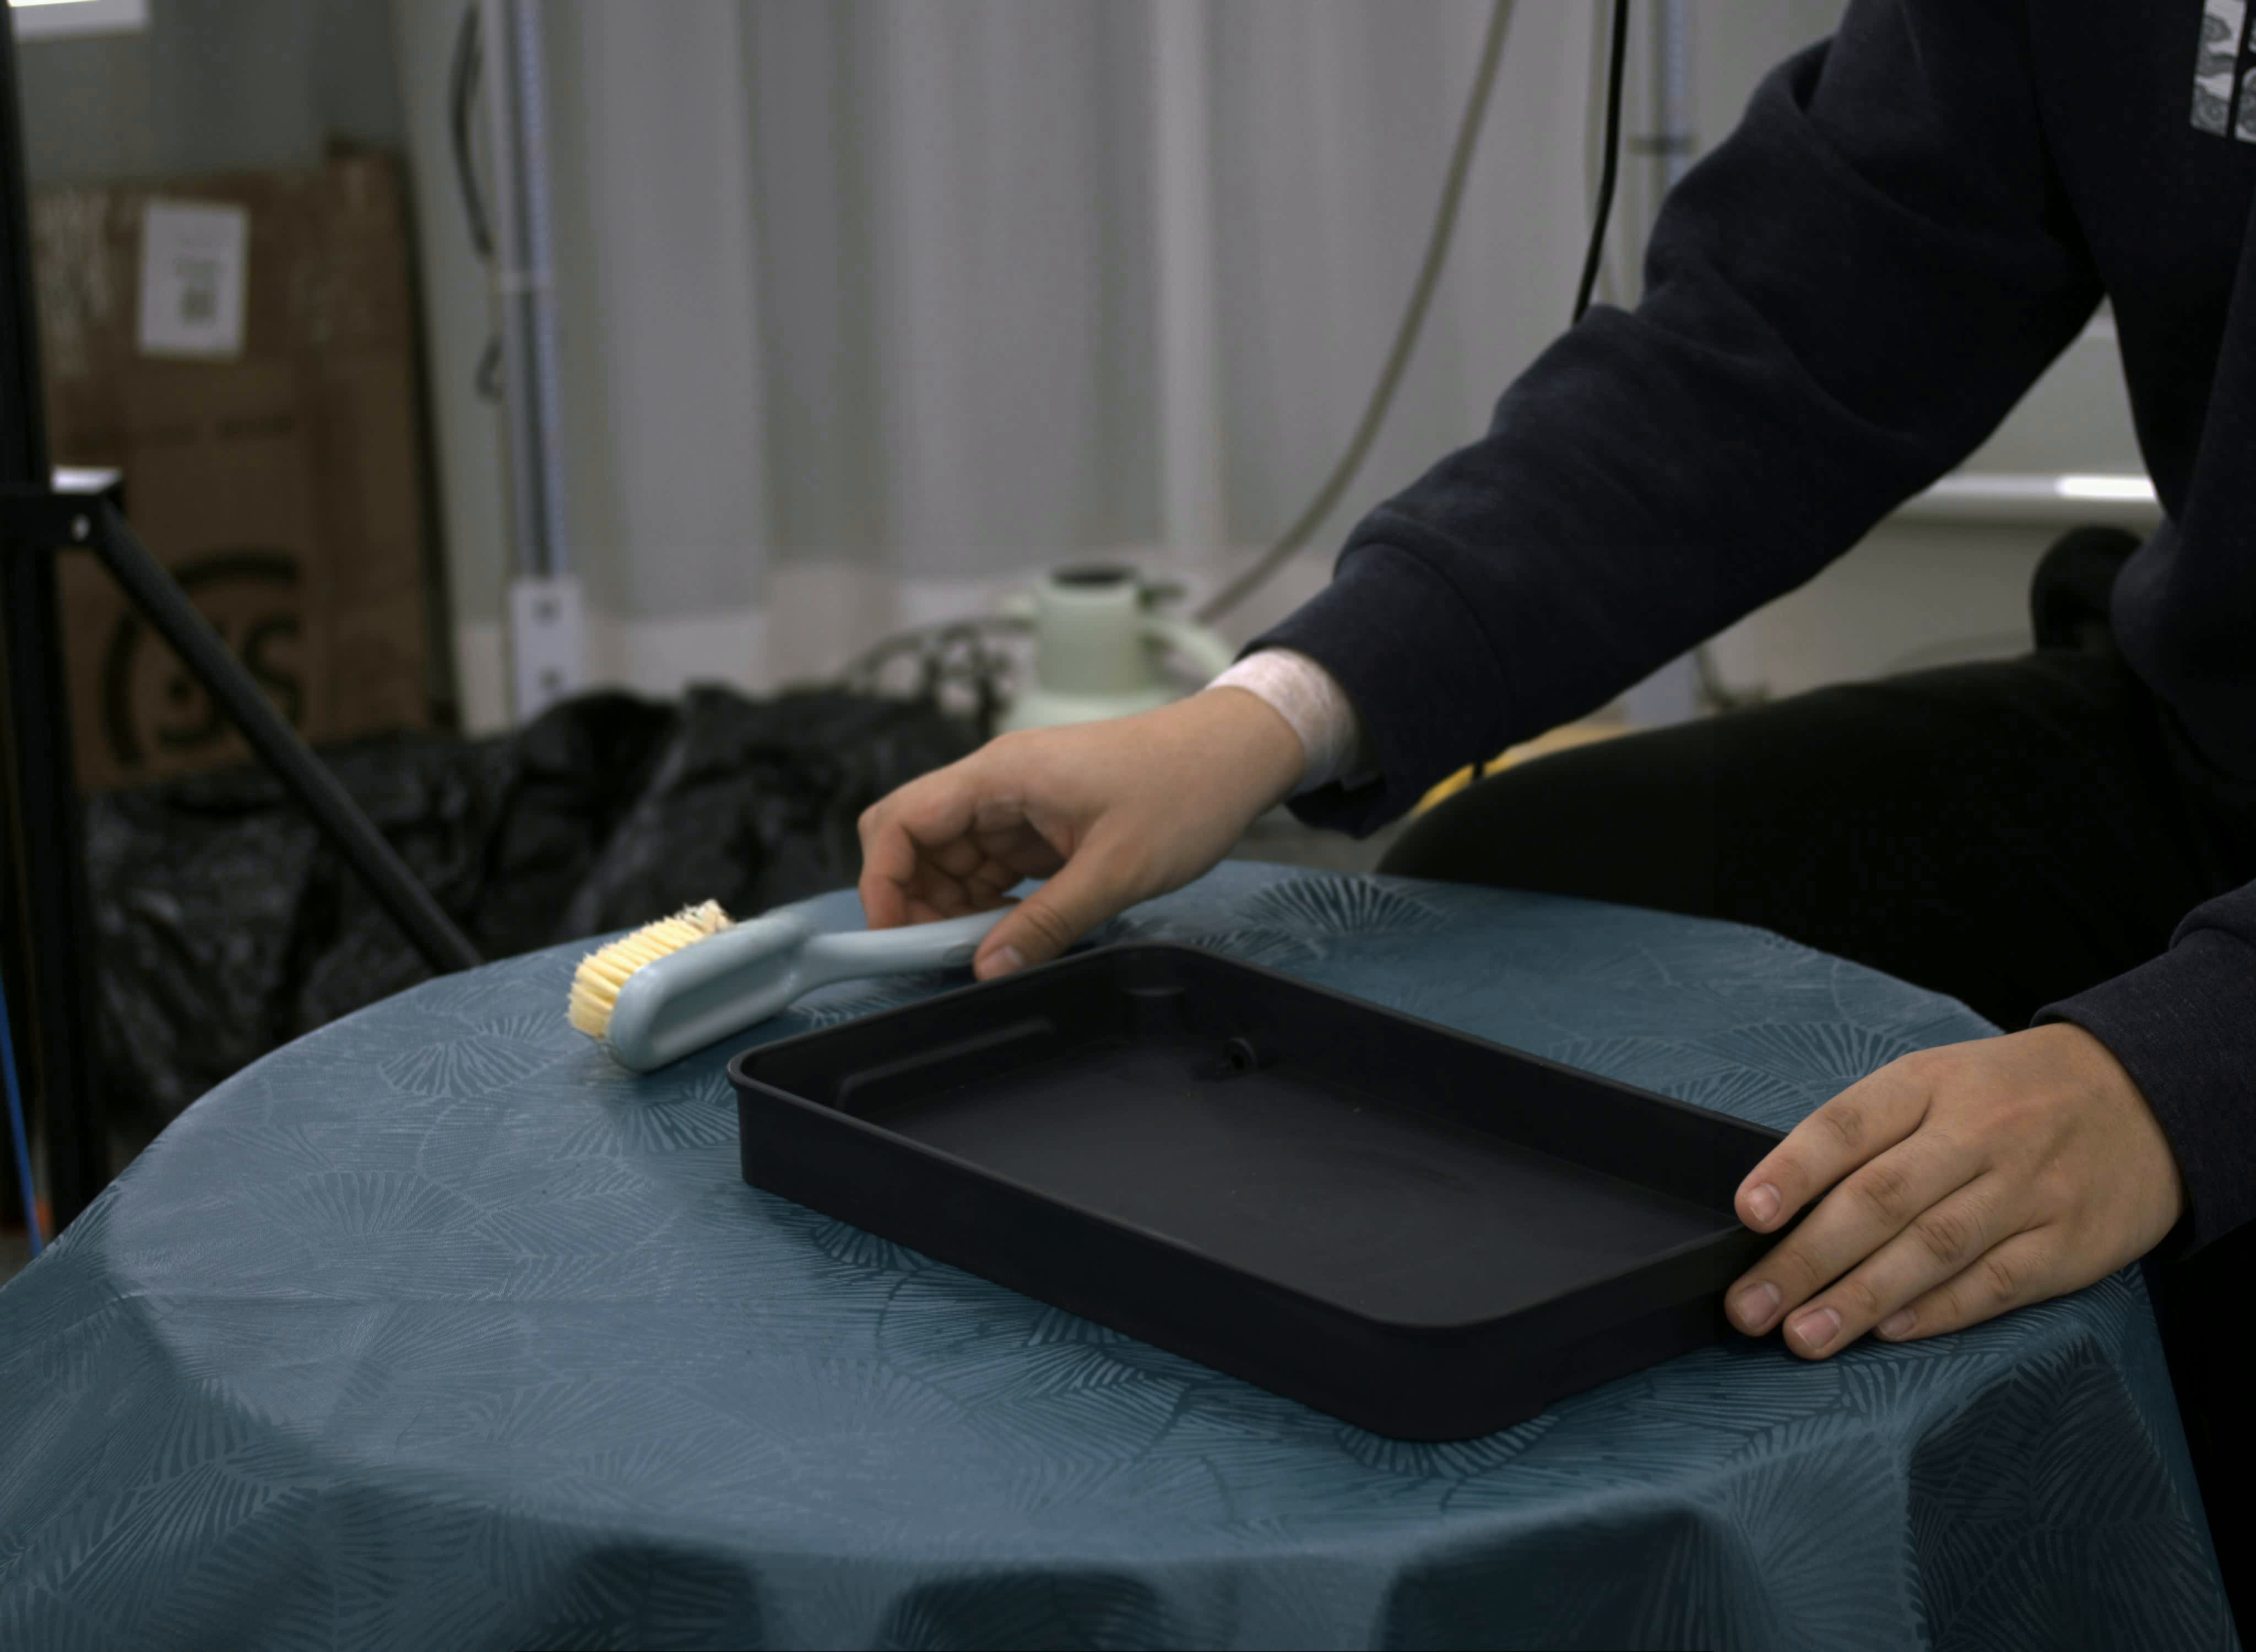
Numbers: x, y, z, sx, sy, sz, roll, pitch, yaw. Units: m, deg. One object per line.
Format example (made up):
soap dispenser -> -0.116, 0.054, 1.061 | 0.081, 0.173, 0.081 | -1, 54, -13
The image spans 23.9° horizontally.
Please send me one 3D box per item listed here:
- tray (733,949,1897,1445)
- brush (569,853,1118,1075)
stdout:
tray -> 0.048, 0.100, 1.514 | 0.180, 0.037, 0.325 | -15, 20, -39
brush -> -0.088, 0.037, 1.750 | 0.223, 0.038, 0.051 | -15, 32, -39
